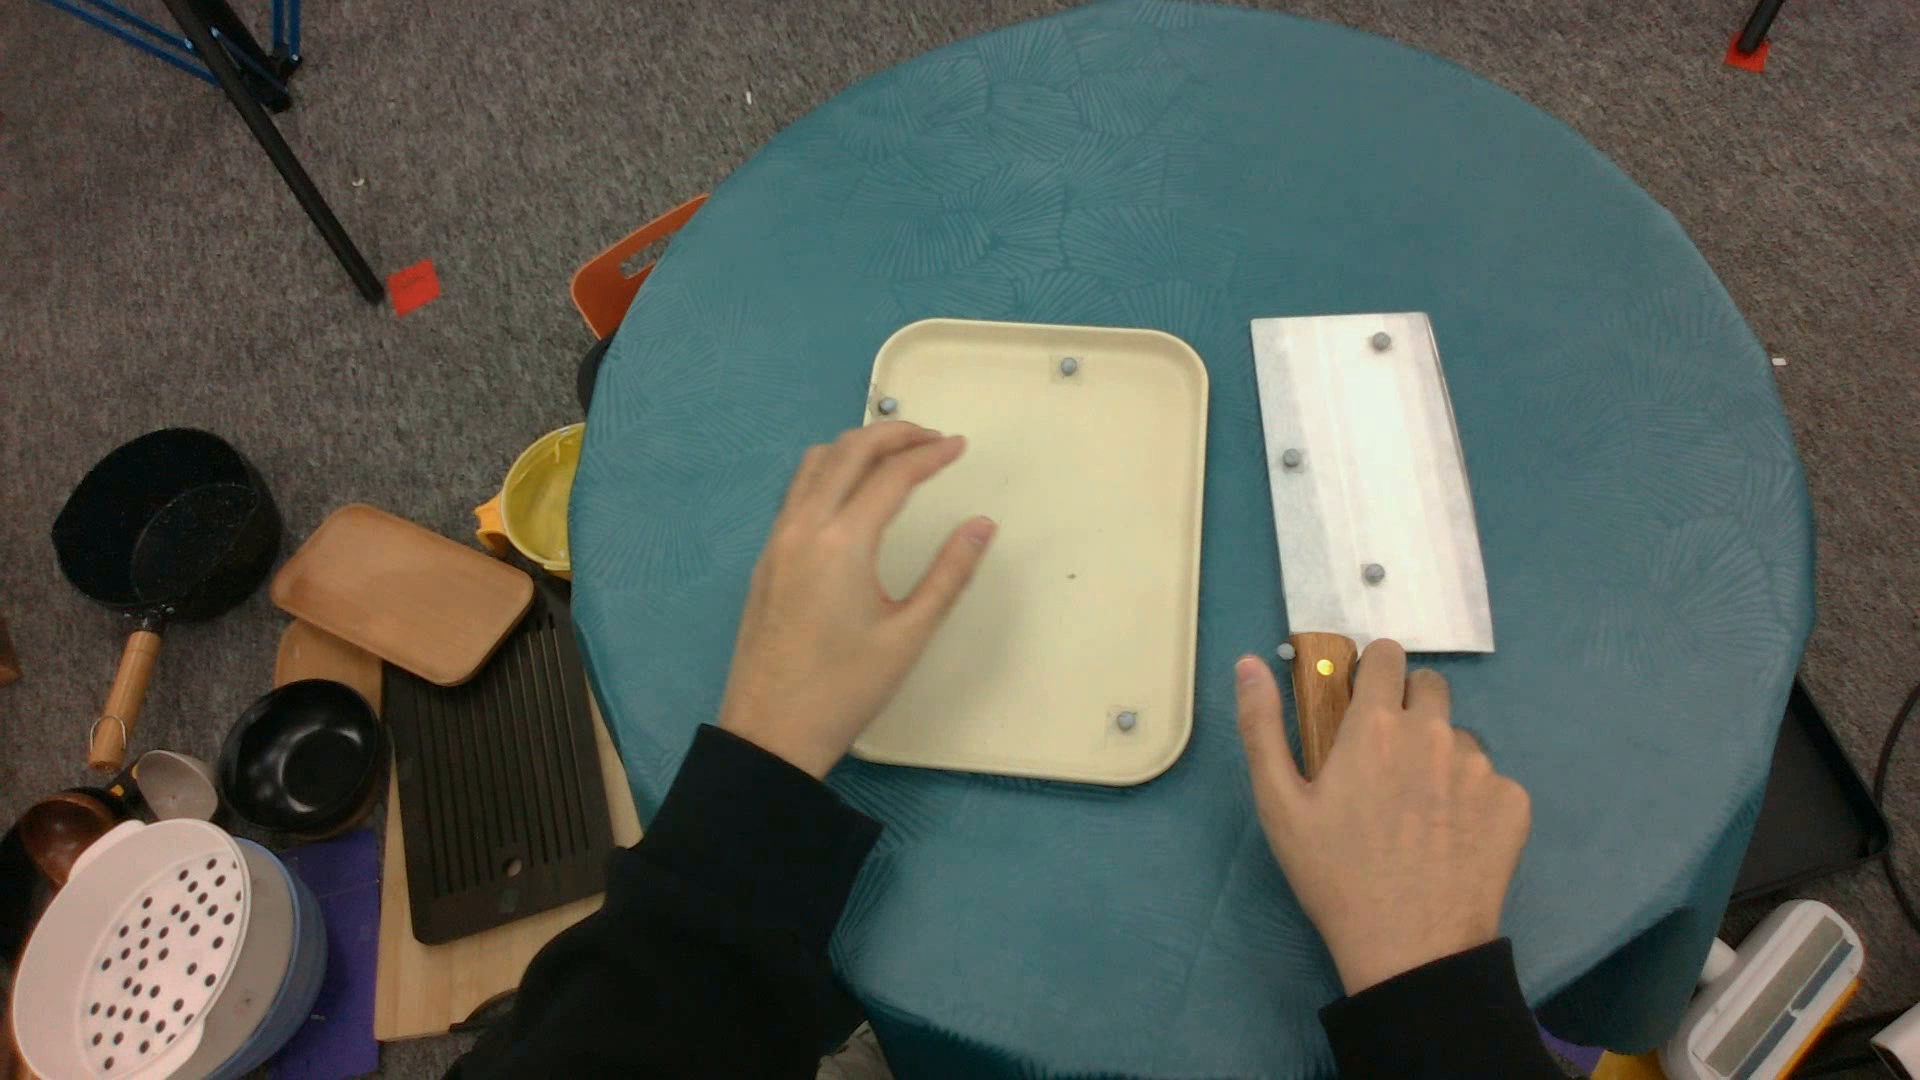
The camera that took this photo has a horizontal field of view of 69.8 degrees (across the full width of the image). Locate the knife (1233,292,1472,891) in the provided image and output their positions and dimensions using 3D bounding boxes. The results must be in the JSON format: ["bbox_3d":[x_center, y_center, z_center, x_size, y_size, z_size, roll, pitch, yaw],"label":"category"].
[{"bbox_3d":[0.185,0.008,0.637,0.093,0.021,0.307,-1,62,2],"label":"knife"}]

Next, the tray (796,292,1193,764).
[{"bbox_3d":[0.021,-0.013,0.655,0.171,0.017,0.240,6,64,5],"label":"tray"}]
